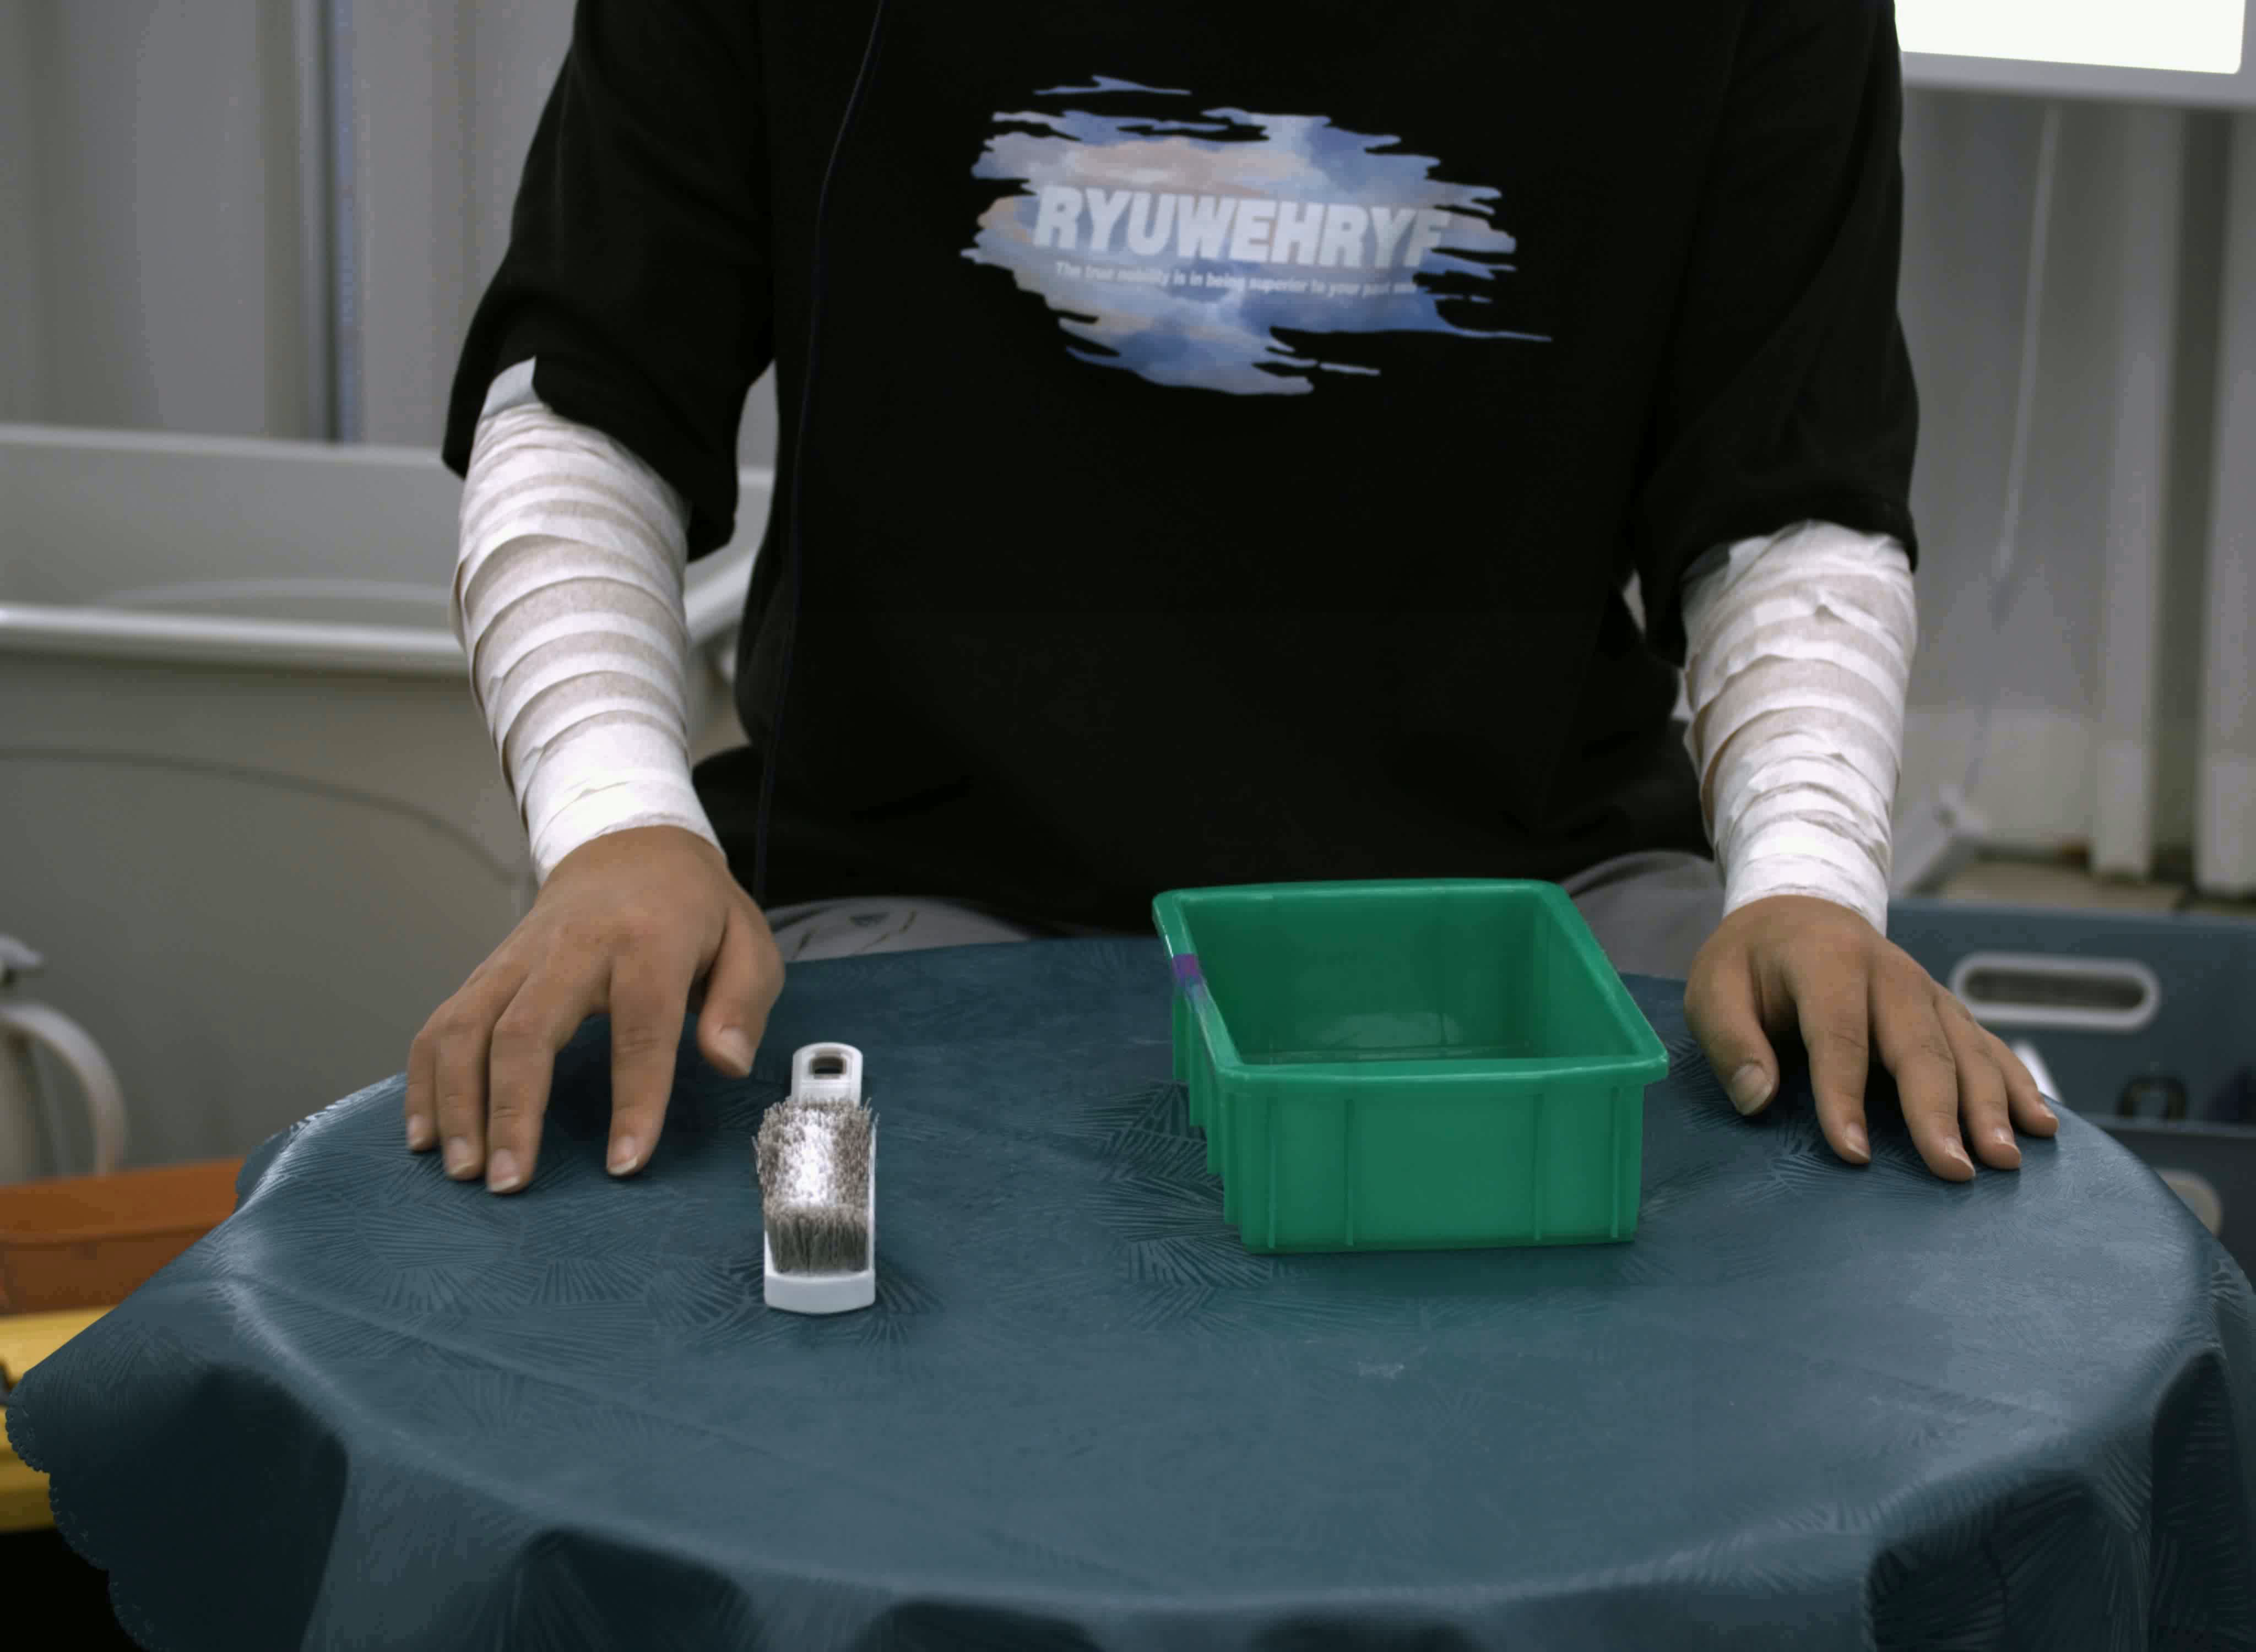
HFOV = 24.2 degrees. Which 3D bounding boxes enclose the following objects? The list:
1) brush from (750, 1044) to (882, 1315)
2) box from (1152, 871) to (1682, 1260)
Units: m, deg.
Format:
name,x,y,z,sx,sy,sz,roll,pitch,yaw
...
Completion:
name,x,y,z,sx,sy,sz,roll,pitch,yaw
brush,-0.092,0.088,1.616,0.034,0.050,0.242,-1,15,0
box,0.087,0.074,1.649,0.138,0.066,0.209,-4,17,-7
